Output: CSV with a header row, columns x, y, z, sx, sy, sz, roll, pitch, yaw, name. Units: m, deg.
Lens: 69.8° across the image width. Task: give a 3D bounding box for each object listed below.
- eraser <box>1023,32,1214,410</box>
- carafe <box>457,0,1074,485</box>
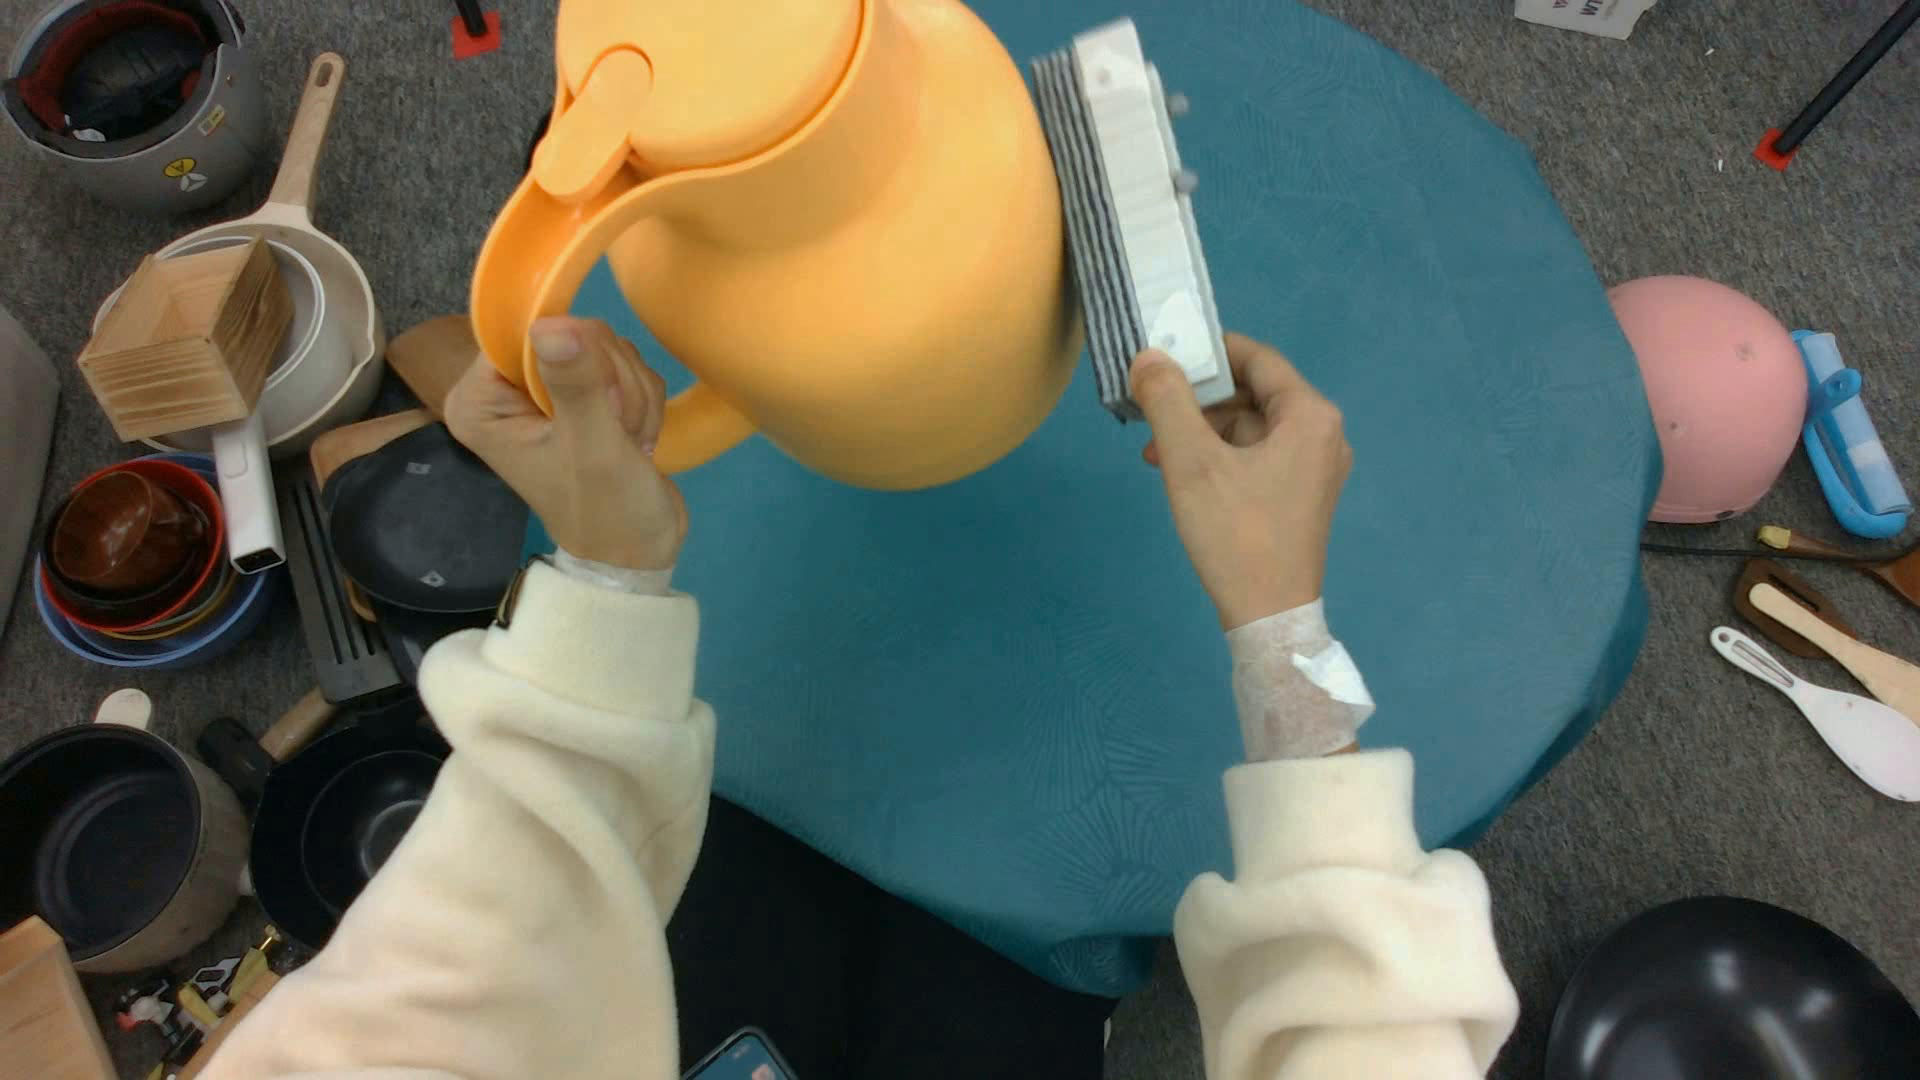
x,y,z,sx,sy,sz,roll,pitch,yaw,name
0.062,-0.121,0.536,0.046,0.050,0.134,-14,82,14,eraser
-0.065,-0.112,0.501,0.163,0.260,0.202,41,87,20,carafe
